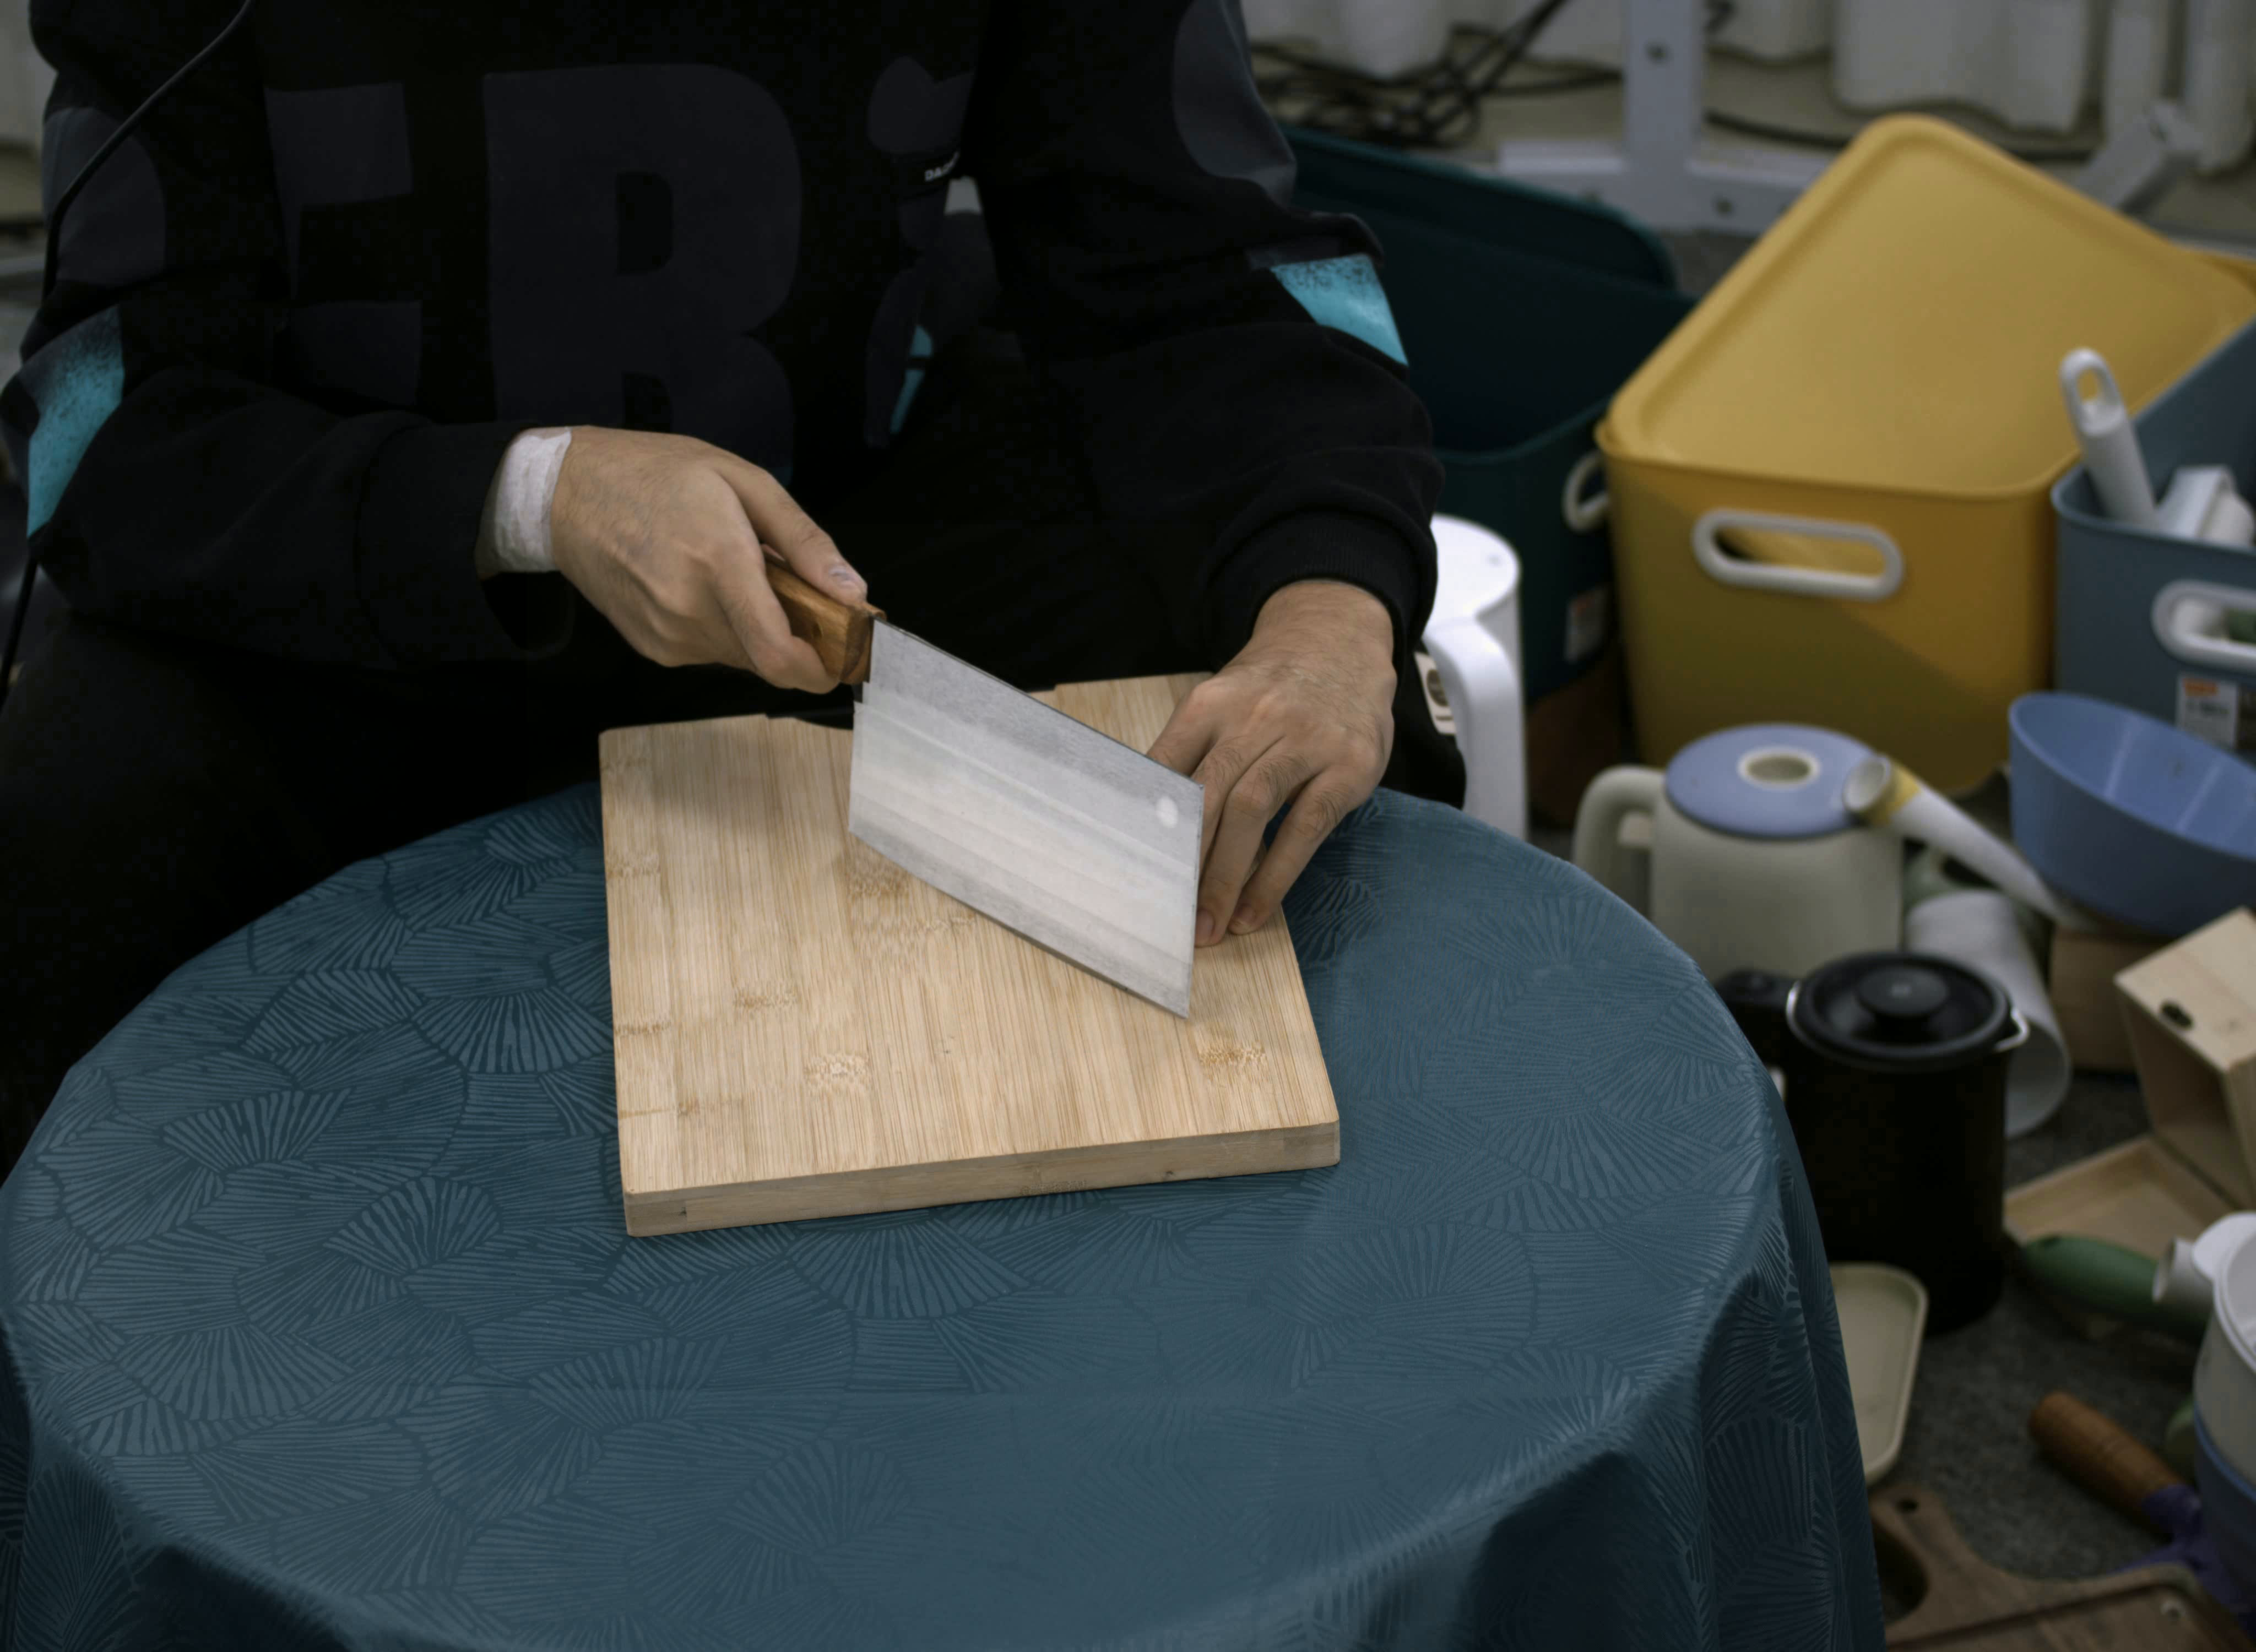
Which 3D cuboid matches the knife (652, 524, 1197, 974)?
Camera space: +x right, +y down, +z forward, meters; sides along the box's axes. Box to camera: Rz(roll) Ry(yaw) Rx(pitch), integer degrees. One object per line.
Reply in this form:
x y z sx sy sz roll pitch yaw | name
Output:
-0.076 -0.026 2.007 0.021 0.092 0.306 -15 30 -38 | knife

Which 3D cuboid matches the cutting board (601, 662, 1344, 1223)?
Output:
-0.064 0.037 2.012 0.250 0.023 0.353 -6 28 -5 | cutting board
